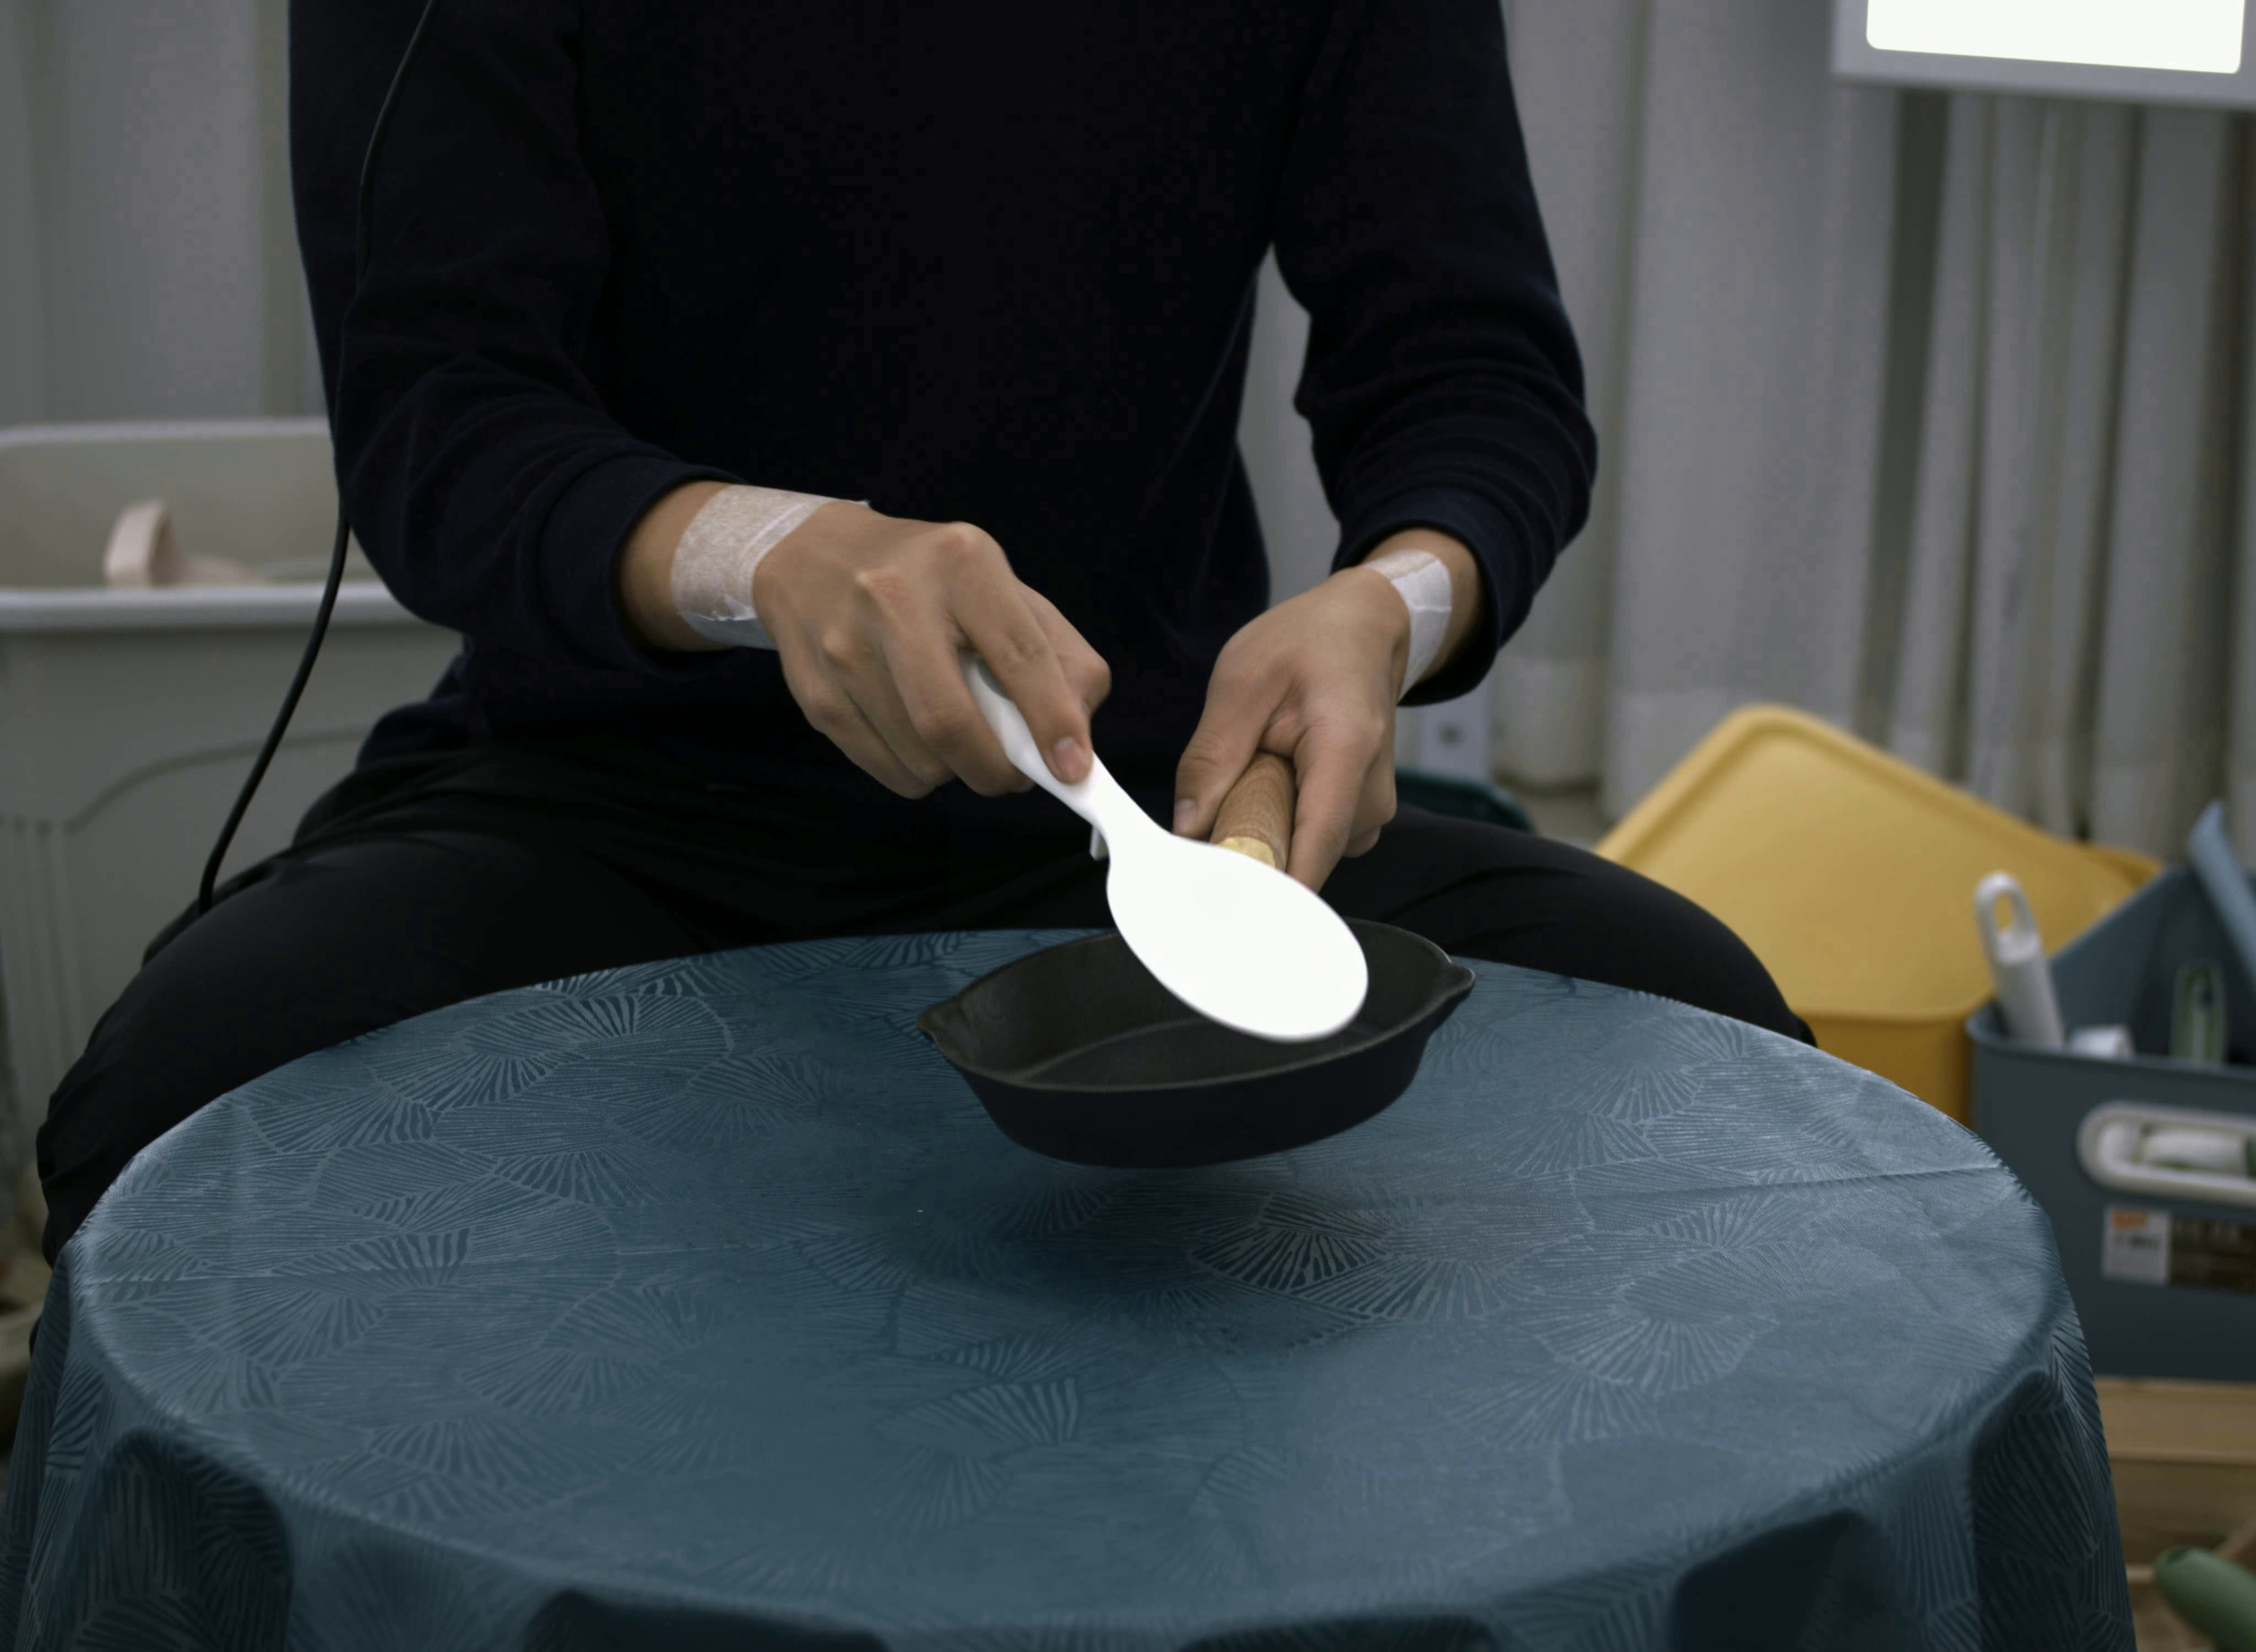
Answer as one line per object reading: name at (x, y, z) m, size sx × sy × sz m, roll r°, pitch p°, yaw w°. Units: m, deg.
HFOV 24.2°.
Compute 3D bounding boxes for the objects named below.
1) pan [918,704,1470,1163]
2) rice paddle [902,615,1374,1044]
pan at (0.034, 0.031, 1.656) m, size 0.168 × 0.050 × 0.323 m, roll -3°, pitch 18°, yaw 11°
rice paddle at (0.001, 0.002, 1.611) m, size 0.069 × 0.030 × 0.202 m, roll -19°, pitch 48°, yaw -33°
